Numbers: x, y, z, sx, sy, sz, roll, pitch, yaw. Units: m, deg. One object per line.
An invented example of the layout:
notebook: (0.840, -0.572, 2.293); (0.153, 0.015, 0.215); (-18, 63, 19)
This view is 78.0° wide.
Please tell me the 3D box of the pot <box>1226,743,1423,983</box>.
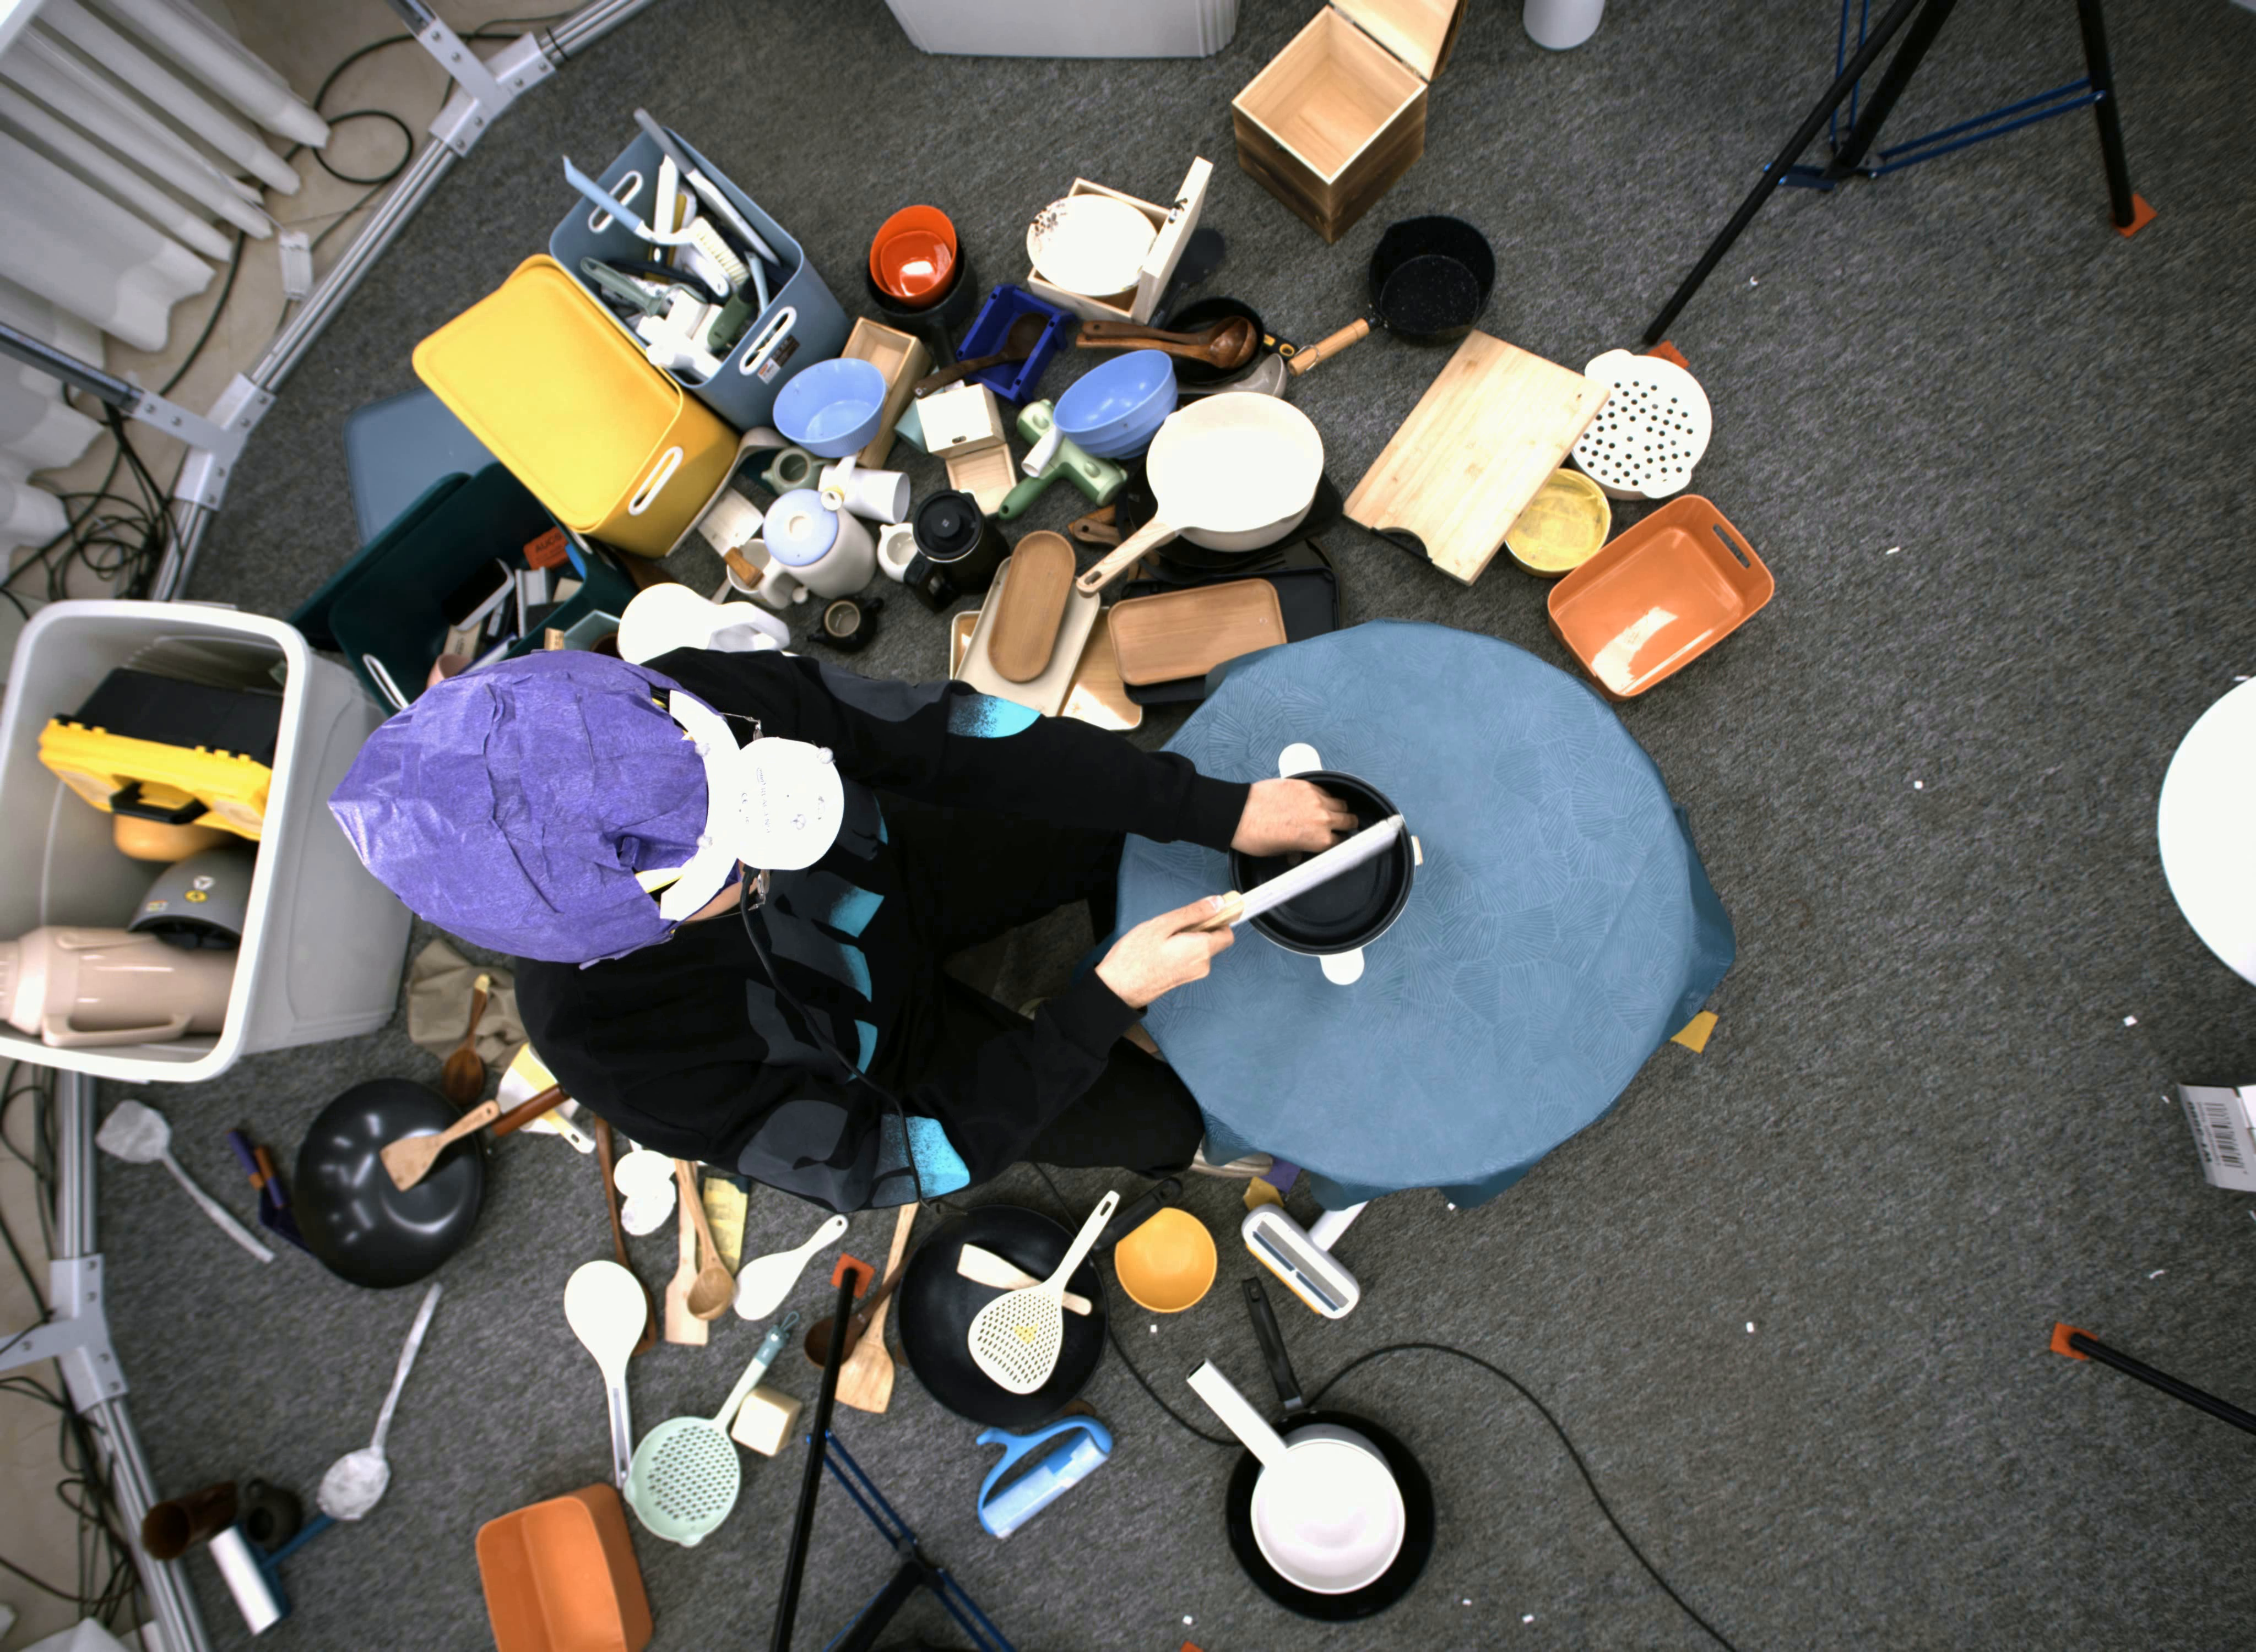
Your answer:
pot: (0.202, 0.038, 1.404); (0.192, 0.142, 0.239); (-13, 85, 12)

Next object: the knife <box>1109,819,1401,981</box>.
knife: (0.125, 0.068, 1.295); (0.313, 0.116, 0.021); (-24, 70, -11)
